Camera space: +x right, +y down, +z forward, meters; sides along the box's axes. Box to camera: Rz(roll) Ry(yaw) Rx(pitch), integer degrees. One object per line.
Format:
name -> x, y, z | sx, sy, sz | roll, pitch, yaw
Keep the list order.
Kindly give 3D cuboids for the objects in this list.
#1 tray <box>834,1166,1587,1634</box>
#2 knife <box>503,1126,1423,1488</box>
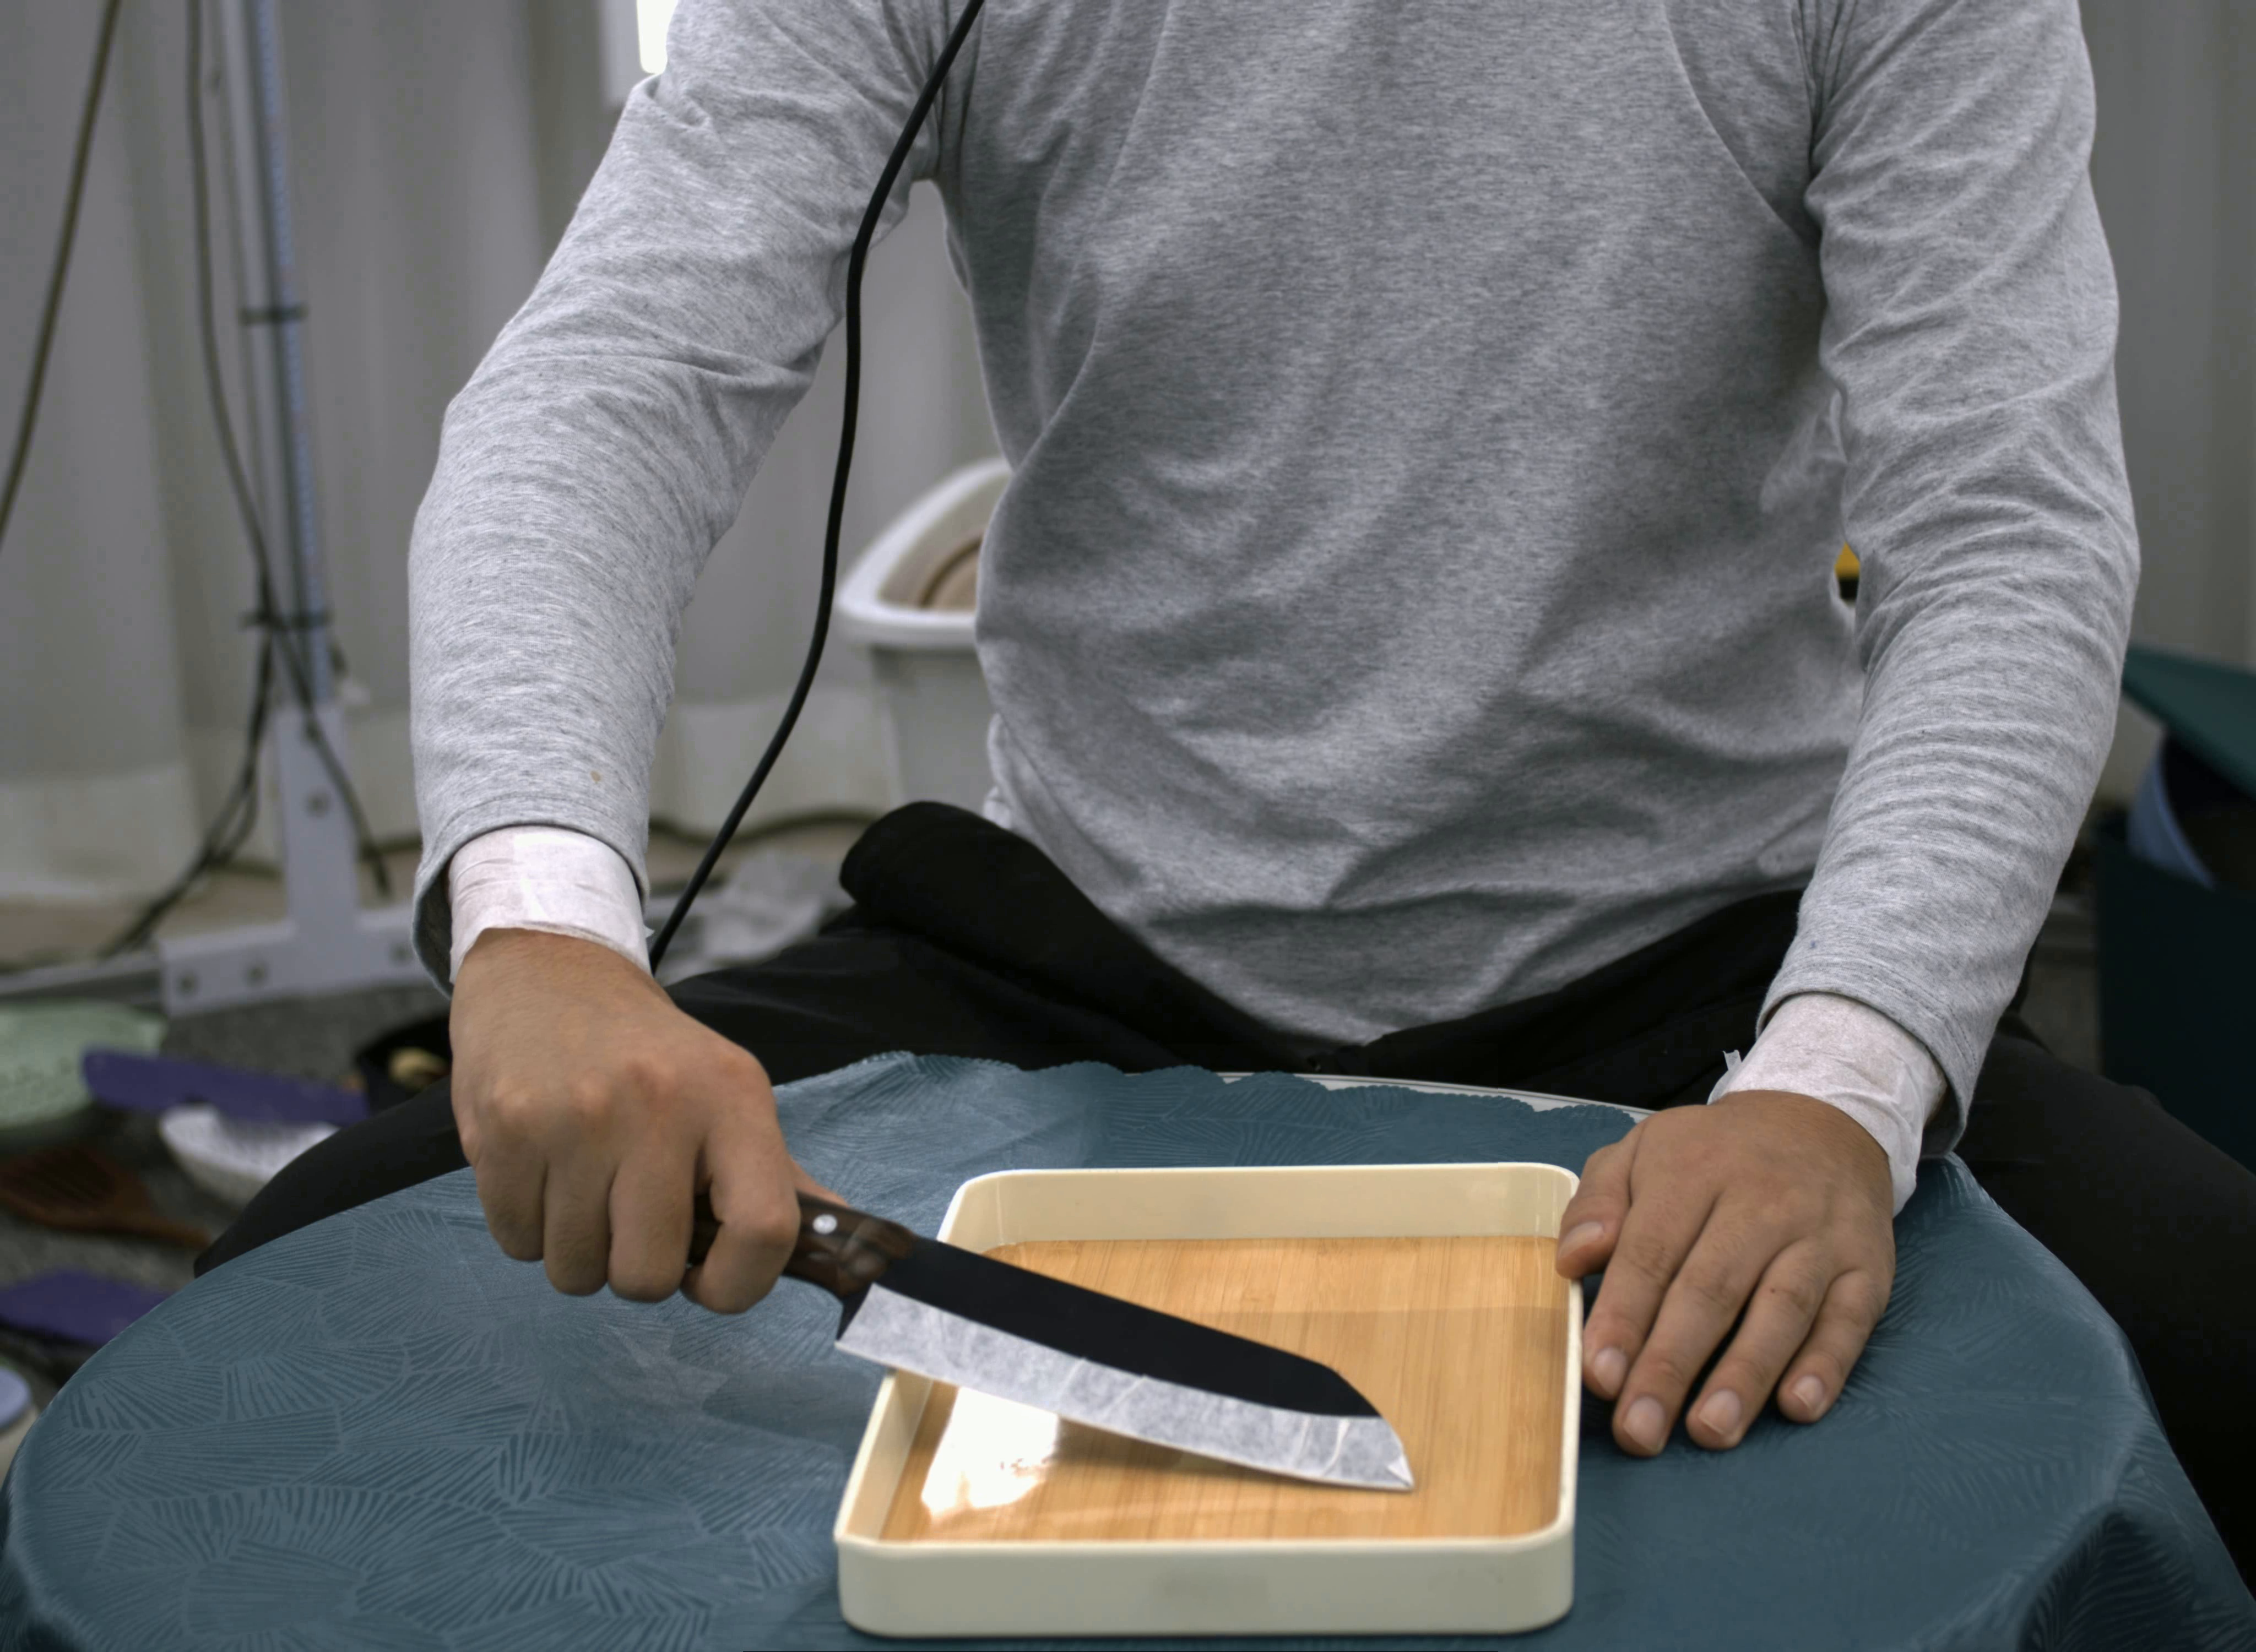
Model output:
tray -> 0.031, 0.154, 1.512 | 0.191, 0.027, 0.302 | -1, 15, 6
knife -> -0.050, 0.133, 1.504 | 0.290, 0.020, 0.051 | 17, 52, 21
